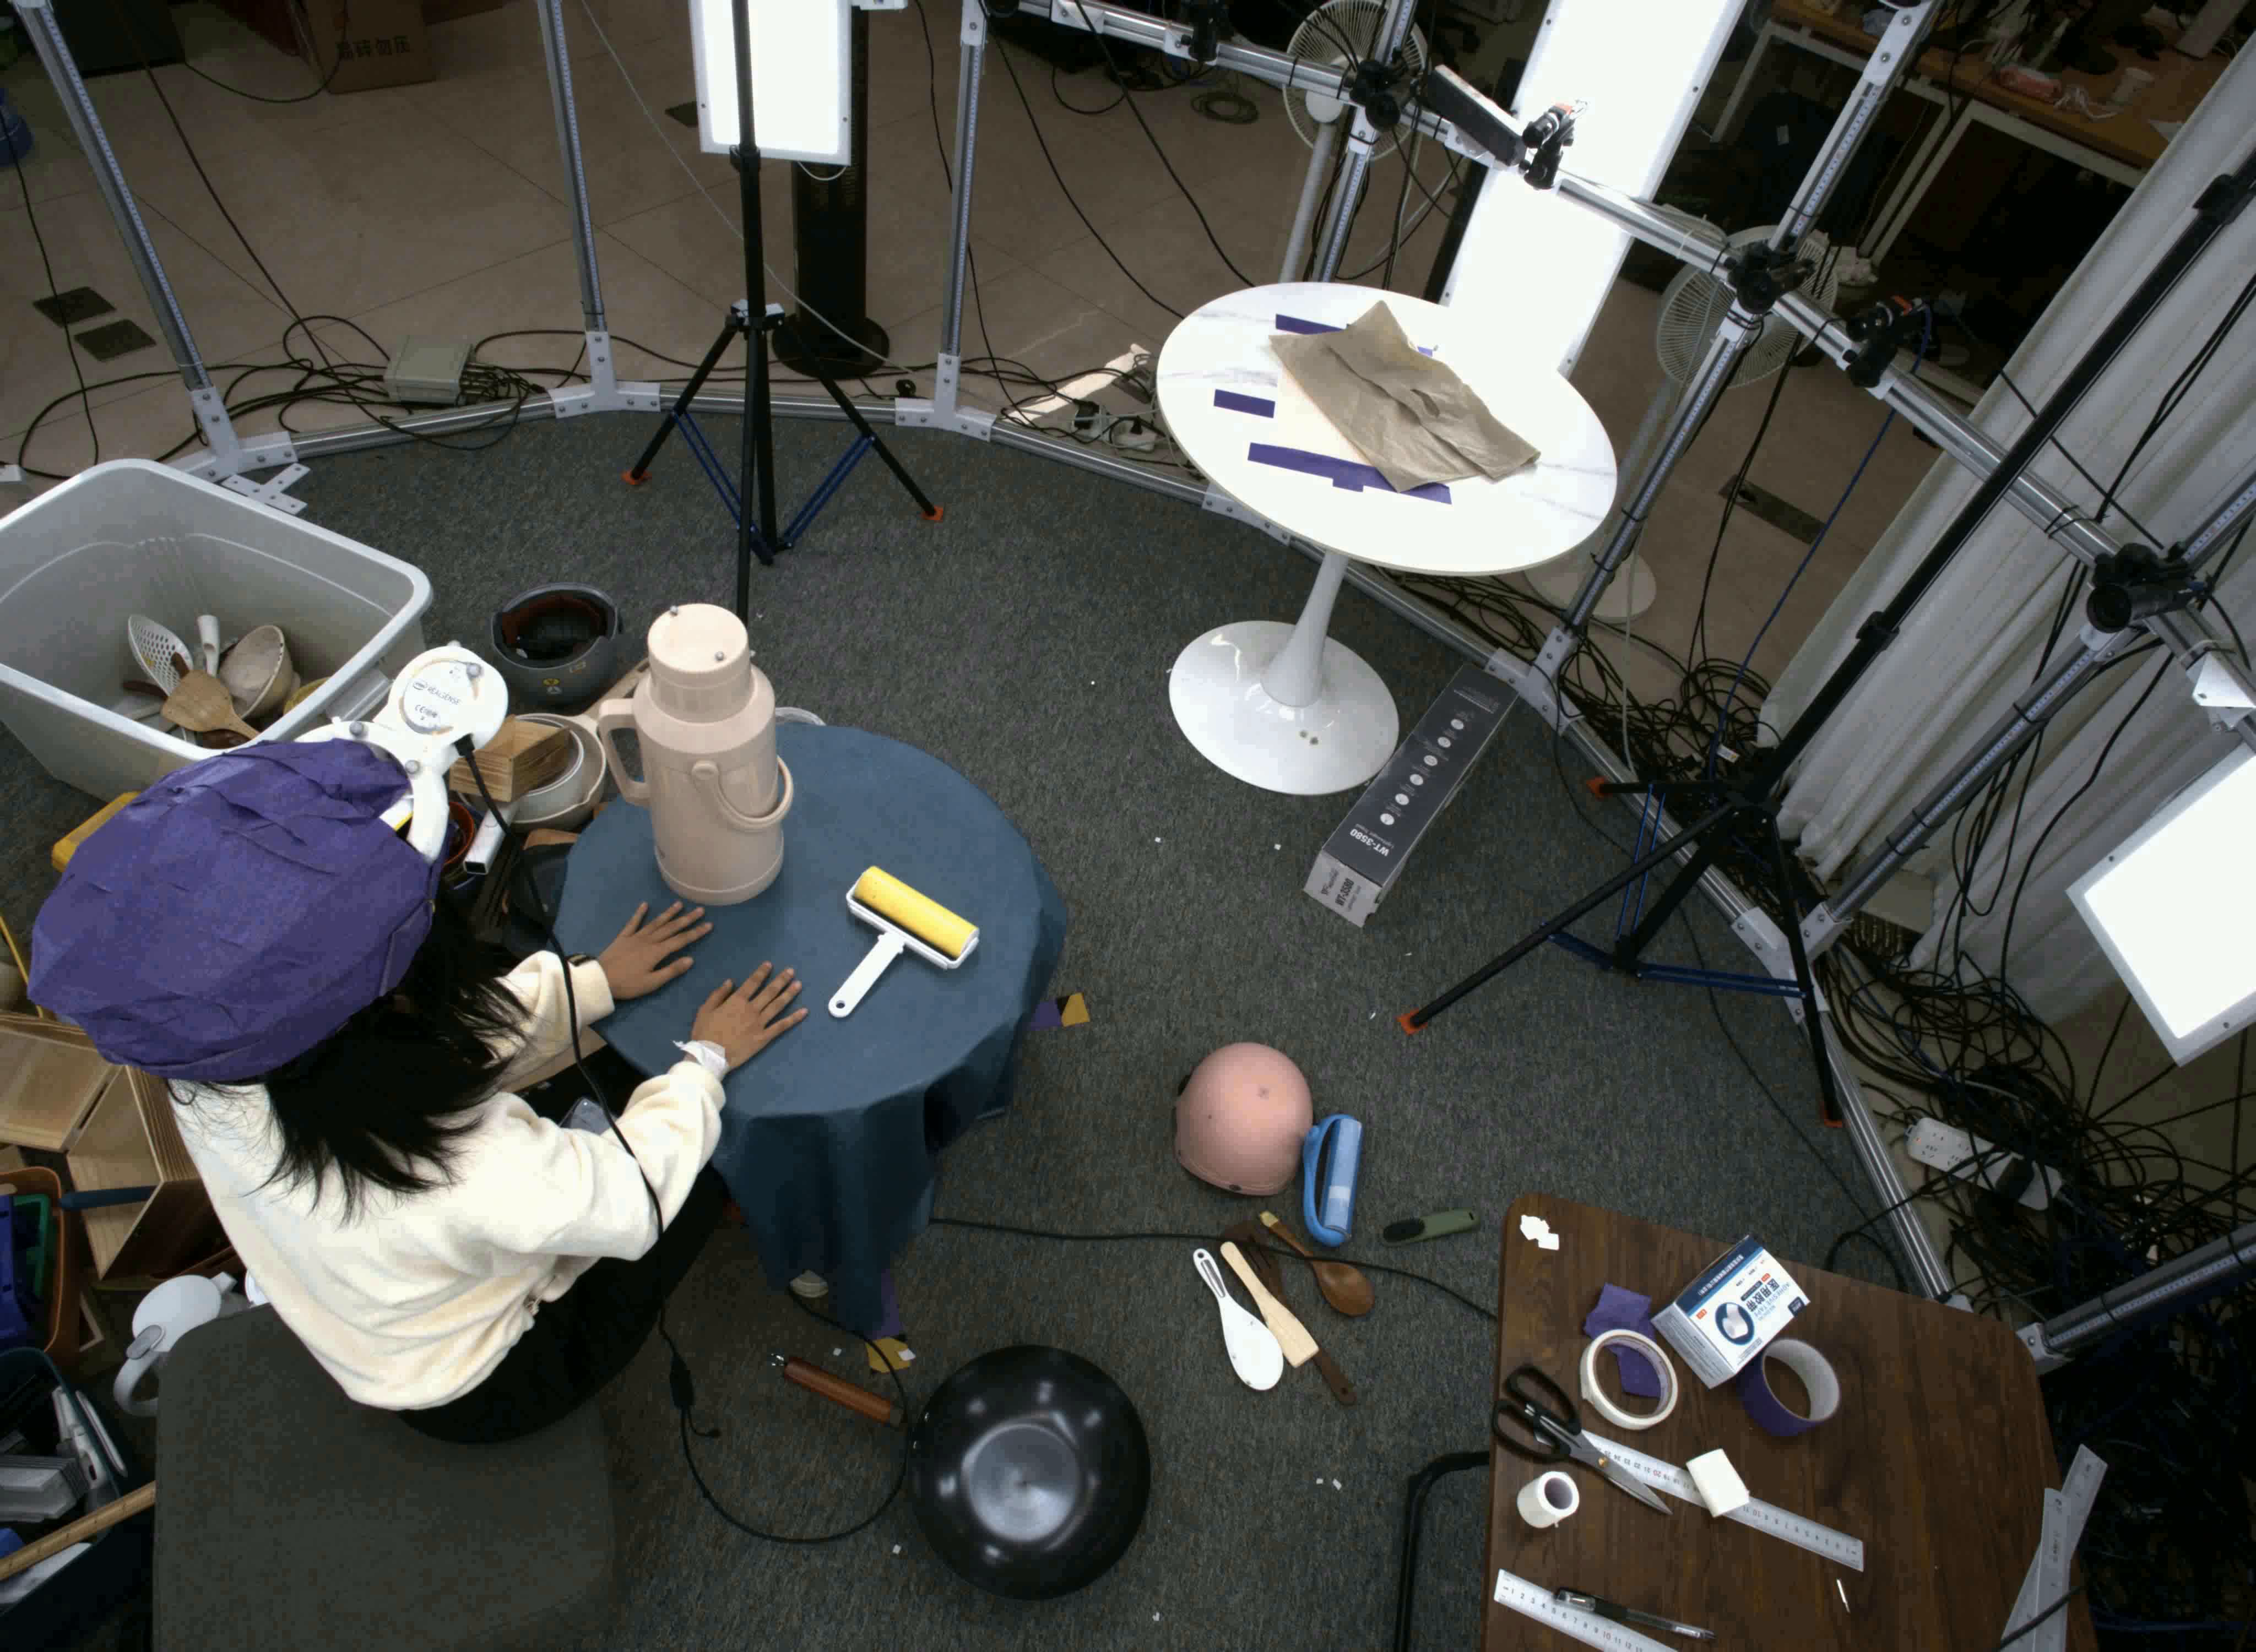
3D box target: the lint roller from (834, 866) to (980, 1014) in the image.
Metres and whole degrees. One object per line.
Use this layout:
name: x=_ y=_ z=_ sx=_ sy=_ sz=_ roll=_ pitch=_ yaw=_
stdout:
lint roller: x=-0.300 y=0.150 z=1.604 sx=0.171 sy=0.052 sz=0.191 roll=29 pitch=45 yaw=8

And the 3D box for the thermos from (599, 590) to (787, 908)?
thermos: x=-0.507 y=-0.087 z=1.505 sx=0.207 sy=0.415 sz=0.171 roll=-4 pitch=54 yaw=-15
